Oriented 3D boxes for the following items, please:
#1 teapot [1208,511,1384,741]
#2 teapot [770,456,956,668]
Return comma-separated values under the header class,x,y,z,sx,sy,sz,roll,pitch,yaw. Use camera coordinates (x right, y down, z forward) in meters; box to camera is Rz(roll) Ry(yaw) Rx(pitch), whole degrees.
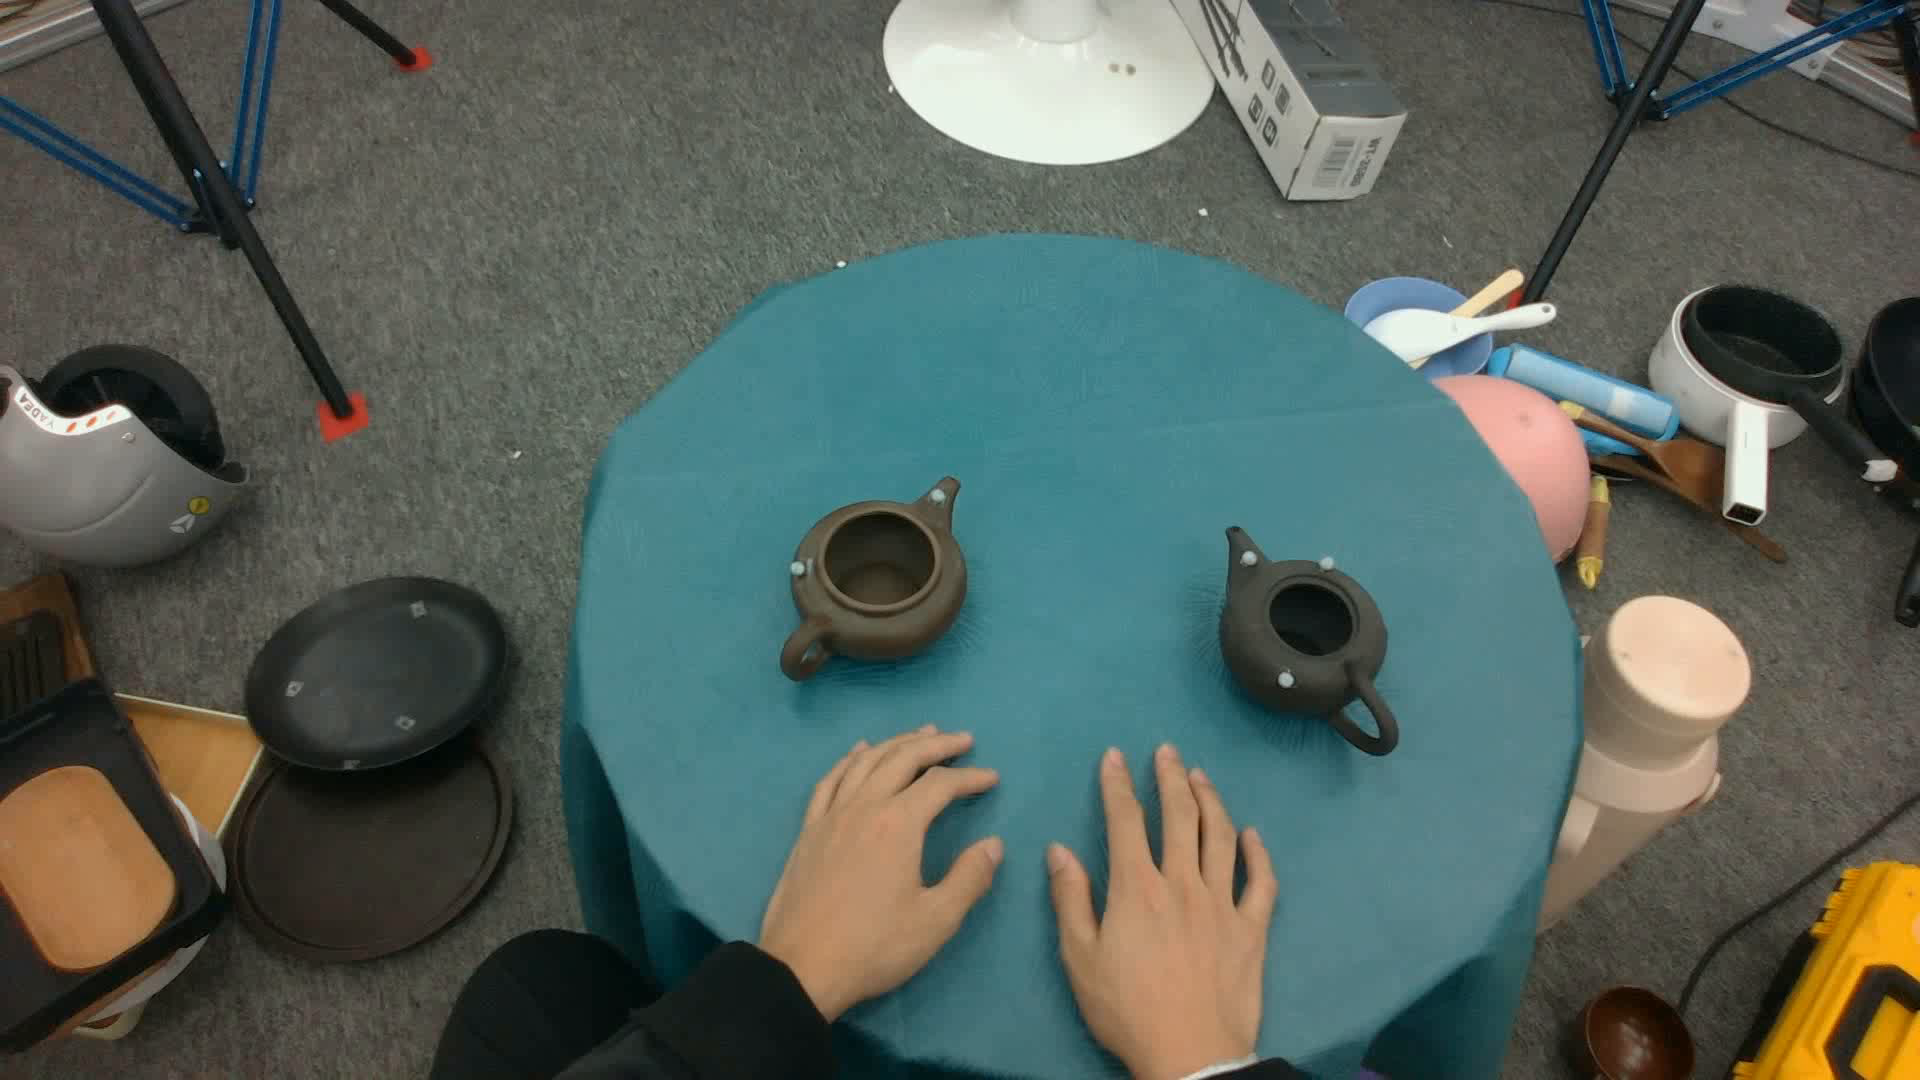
class,x,y,z,sx,sy,sz,roll,pitch,yaw
teapot,0.188,0.050,0.780,0.092,0.064,0.154,-24,60,-17
teapot,-0.056,0.015,0.788,0.102,0.053,0.154,27,57,16
